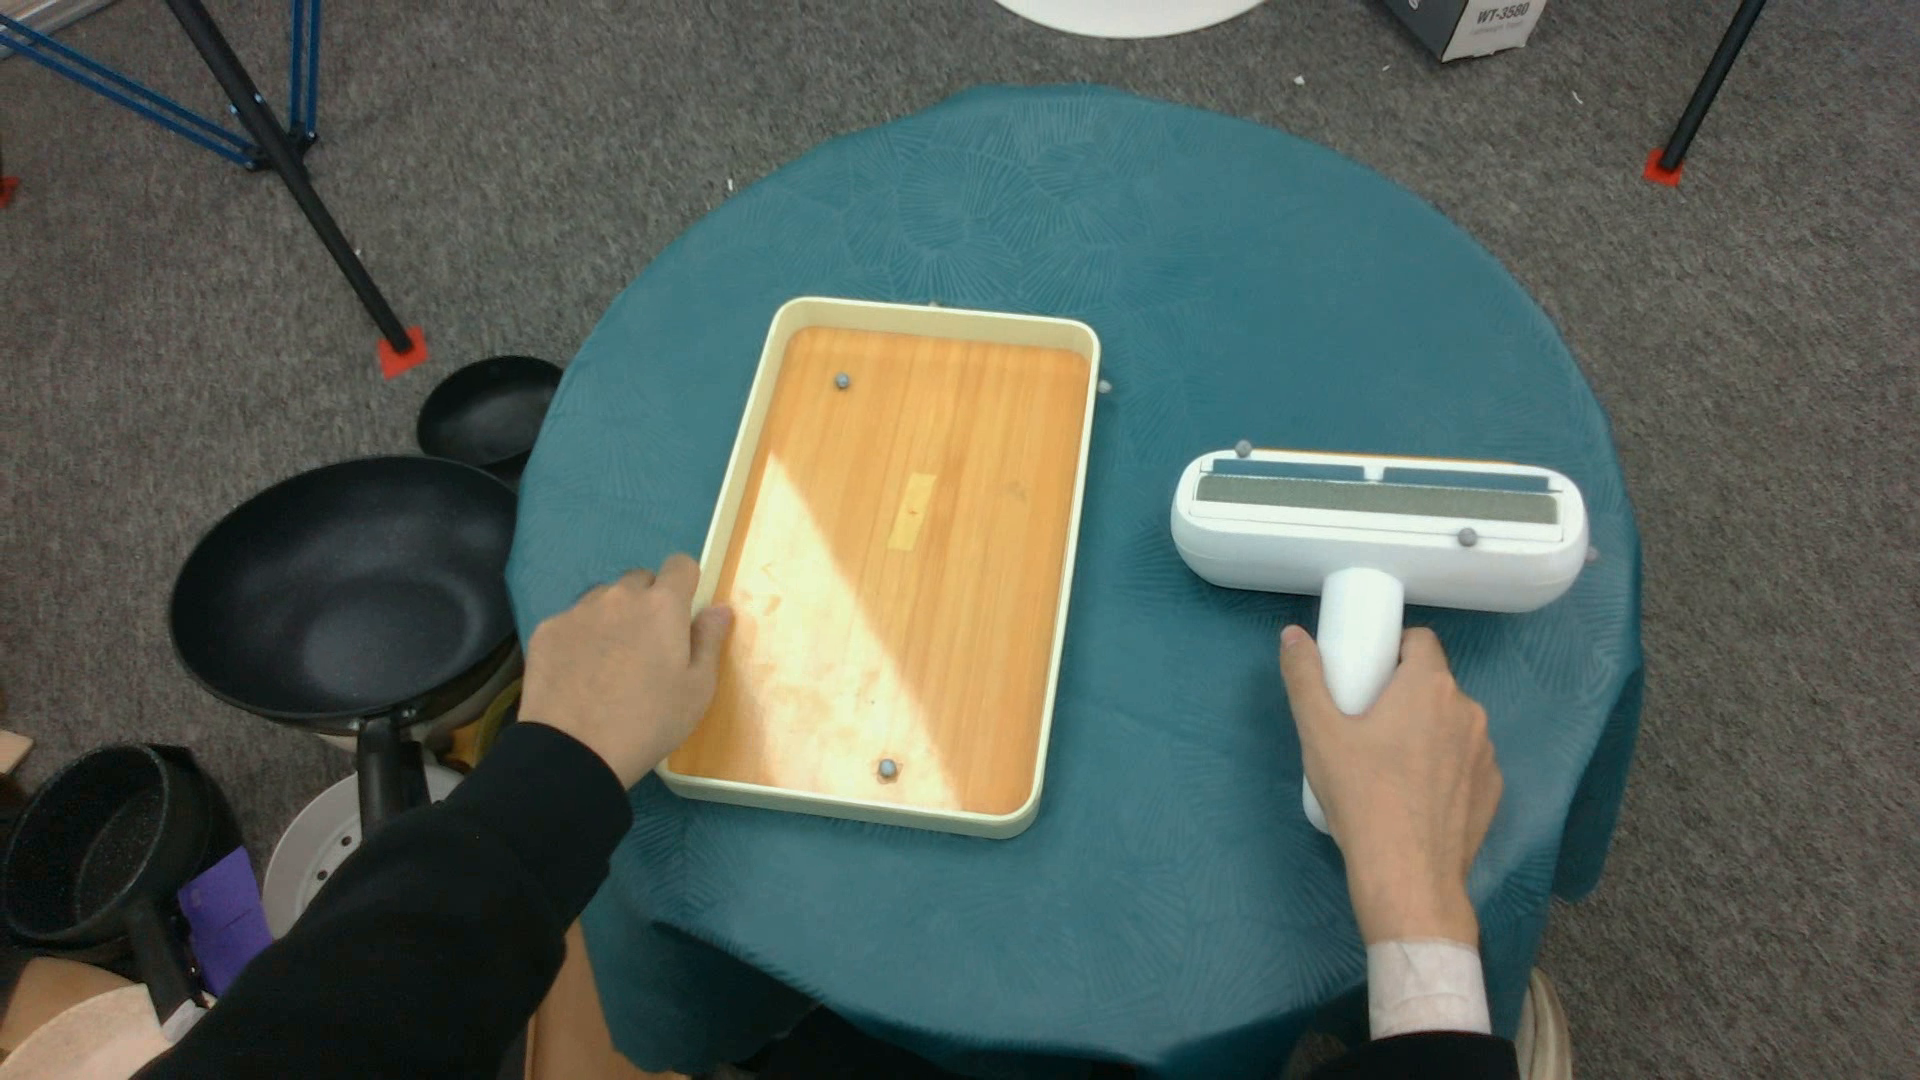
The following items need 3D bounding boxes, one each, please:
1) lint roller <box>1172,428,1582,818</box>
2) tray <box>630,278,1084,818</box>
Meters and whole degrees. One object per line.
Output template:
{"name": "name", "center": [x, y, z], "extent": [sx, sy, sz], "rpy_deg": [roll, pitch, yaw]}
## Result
{"name": "lint roller", "center": [0.185, 0.036, 0.655], "extent": [0.192, 0.074, 0.193], "rpy_deg": [11, 57, 16]}
{"name": "tray", "center": [-0.044, -0.010, 0.722], "extent": [0.191, 0.027, 0.301], "rpy_deg": [6, 60, 7]}
